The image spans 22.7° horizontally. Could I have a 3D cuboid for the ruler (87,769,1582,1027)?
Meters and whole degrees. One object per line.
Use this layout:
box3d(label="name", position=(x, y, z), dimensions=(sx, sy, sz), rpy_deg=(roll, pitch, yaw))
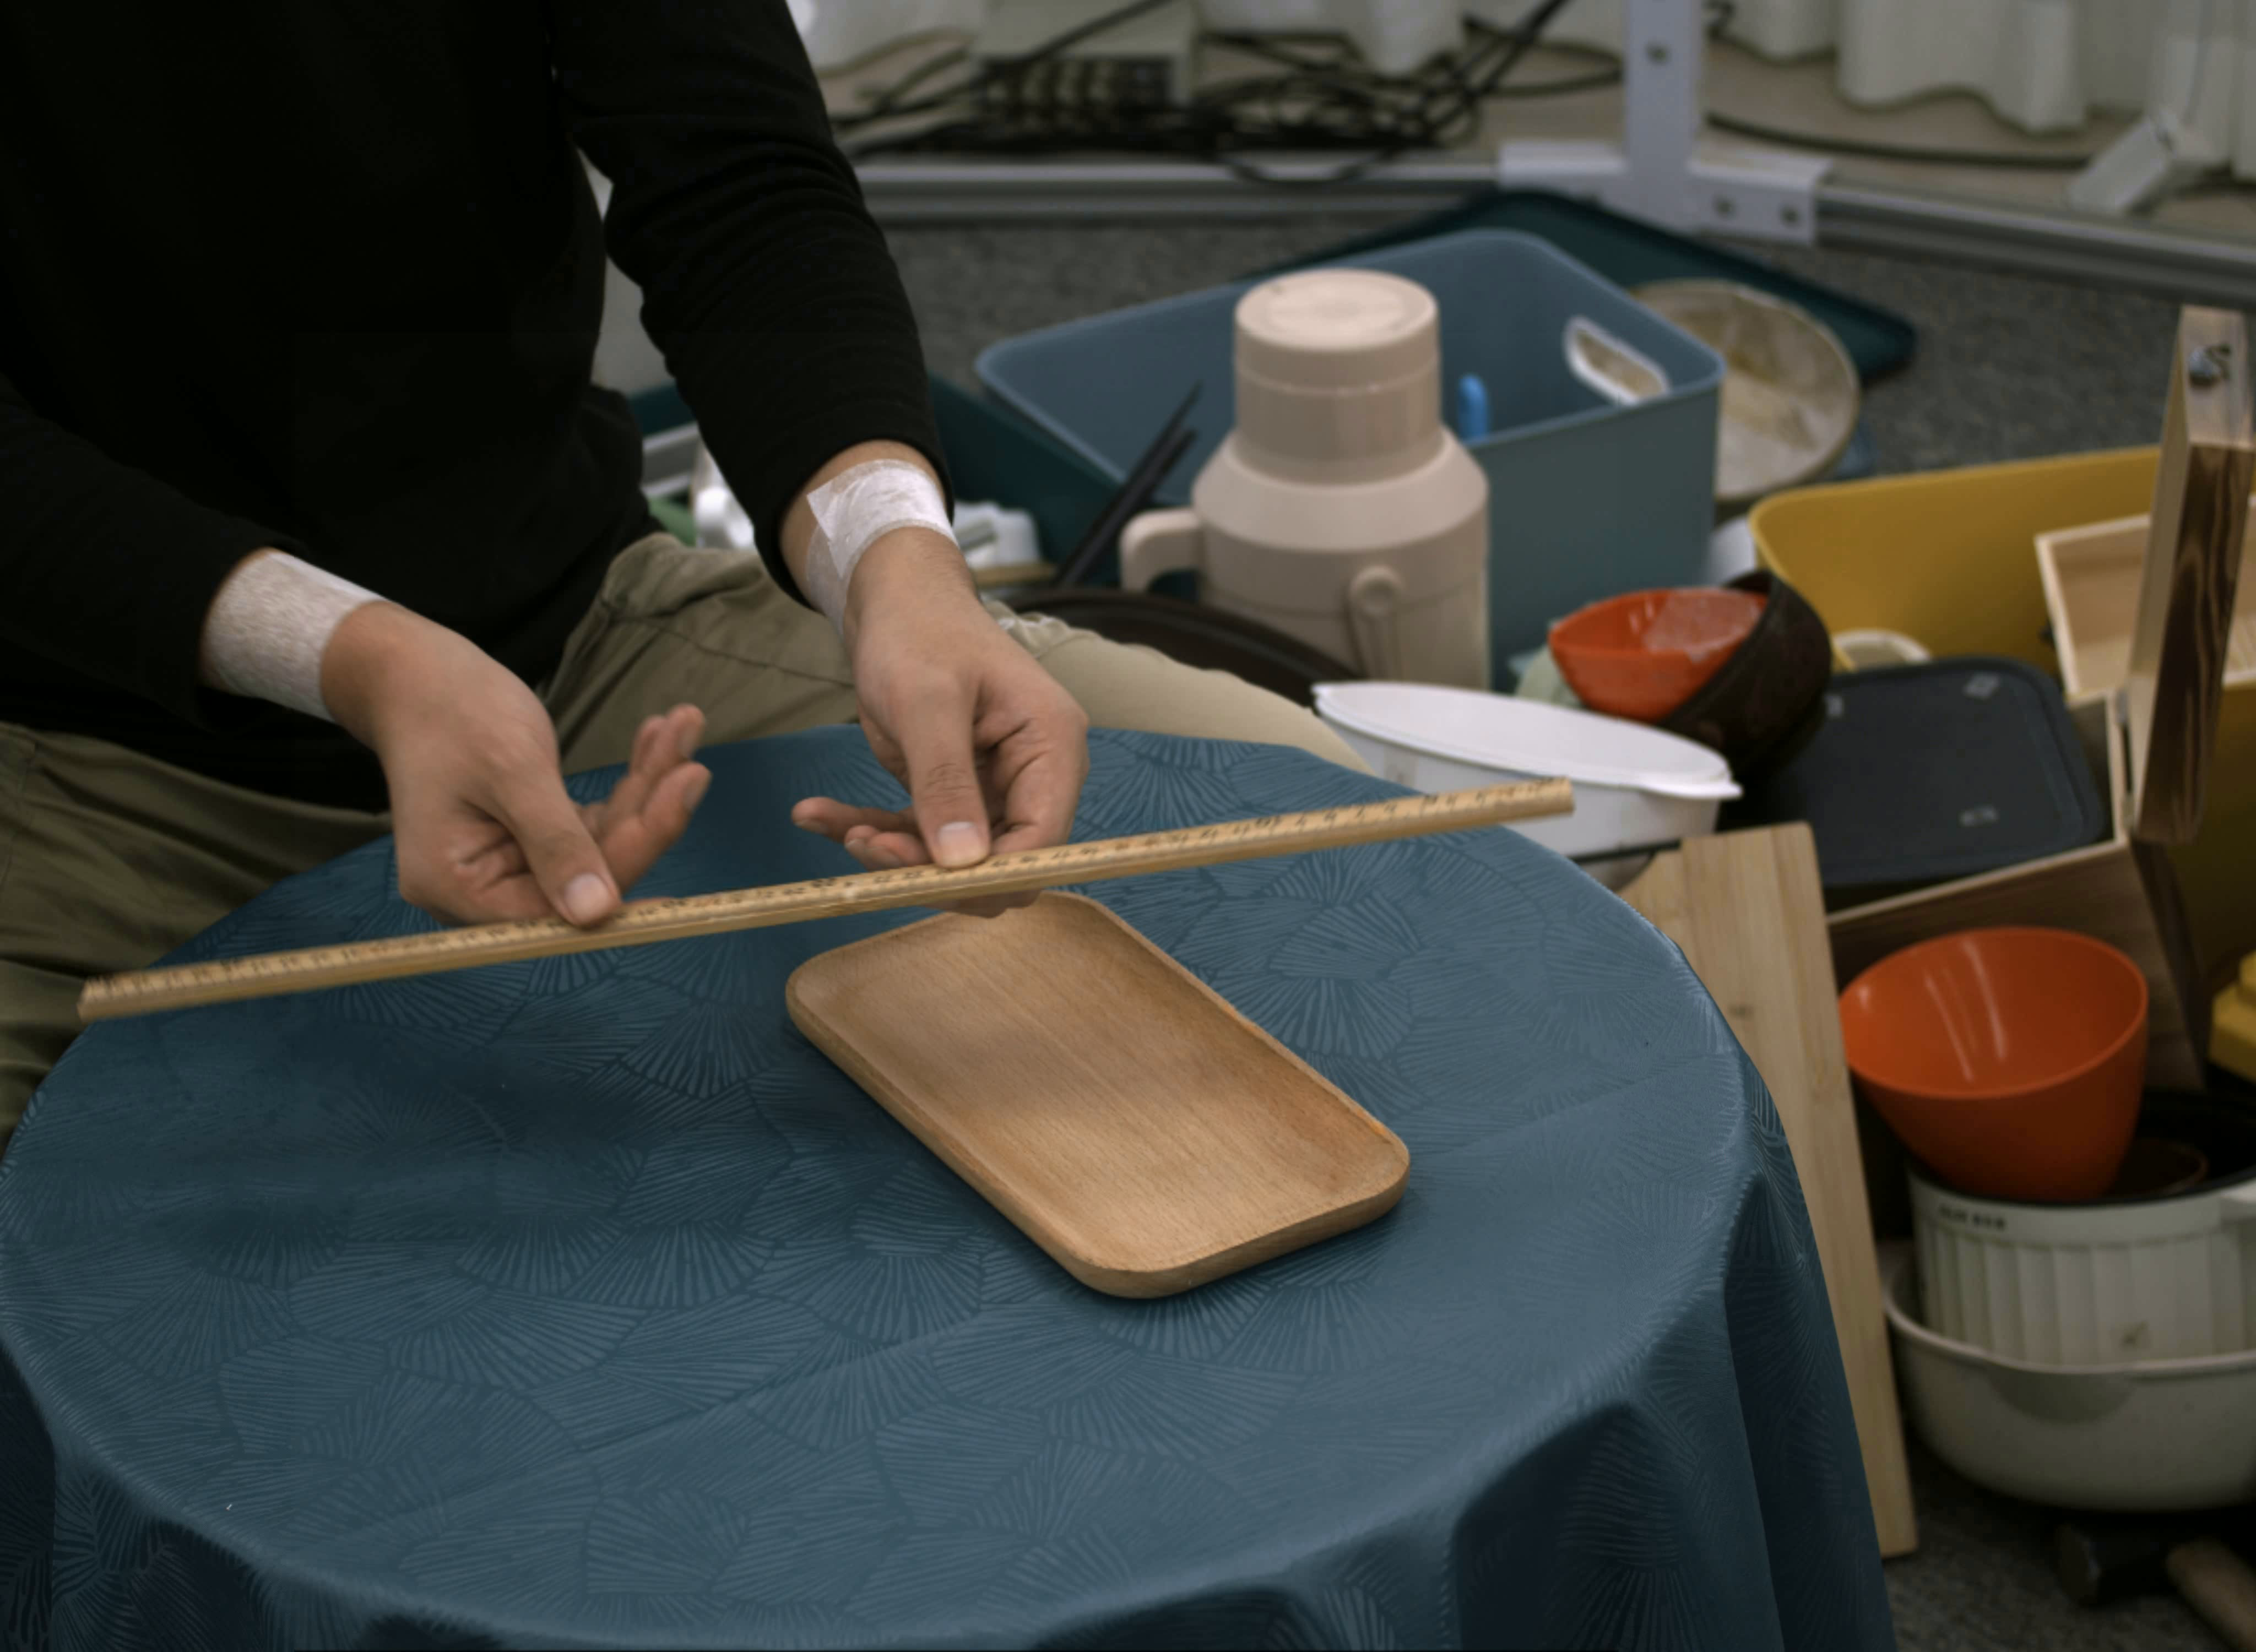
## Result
box3d(label="ruler", position=(-0.097, 0.024, 1.859), dimensions=(0.498, 0.006, 0.027), rpy_deg=(-9, 18, 1))

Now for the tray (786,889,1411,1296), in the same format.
box3d(label="tray", position=(-0.013, 0.088, 1.910), dimensions=(0.131, 0.022, 0.252), rpy_deg=(-15, 28, -25))
